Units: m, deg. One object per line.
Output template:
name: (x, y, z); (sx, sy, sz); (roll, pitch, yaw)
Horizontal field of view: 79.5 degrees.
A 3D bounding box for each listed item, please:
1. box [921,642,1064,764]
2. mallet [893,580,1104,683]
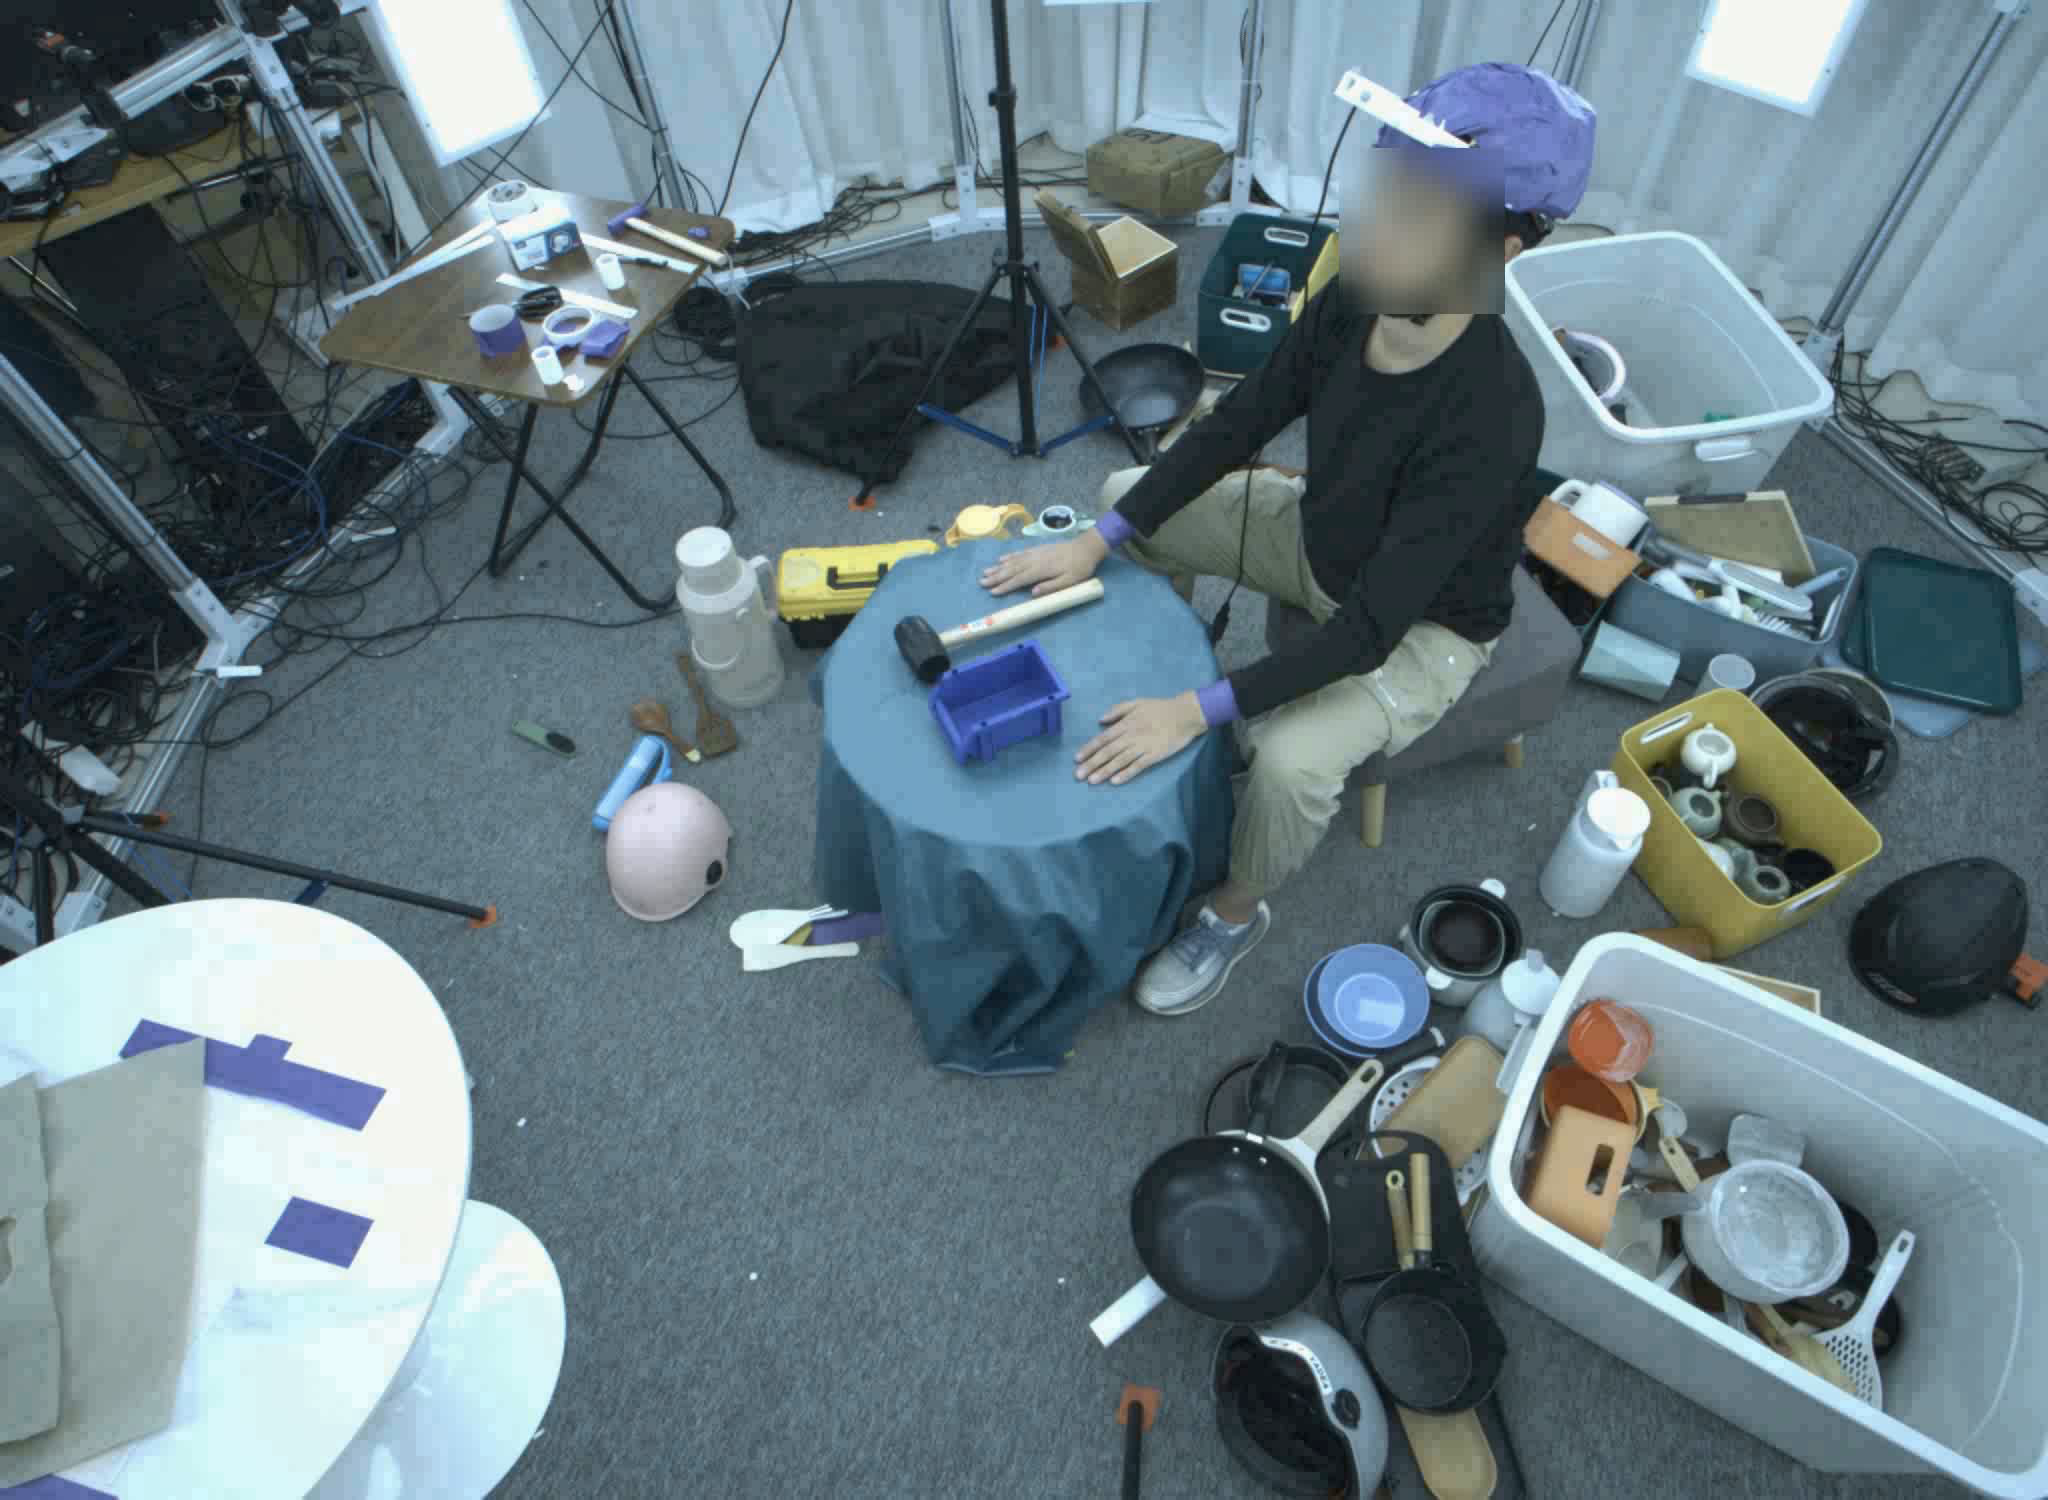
box: (-0.047, -0.062, 1.779); (0.181, 0.082, 0.122); (-19, 56, -15)
mallet: (-0.033, -0.205, 1.894); (0.341, 0.065, 0.100); (-22, 57, -14)
